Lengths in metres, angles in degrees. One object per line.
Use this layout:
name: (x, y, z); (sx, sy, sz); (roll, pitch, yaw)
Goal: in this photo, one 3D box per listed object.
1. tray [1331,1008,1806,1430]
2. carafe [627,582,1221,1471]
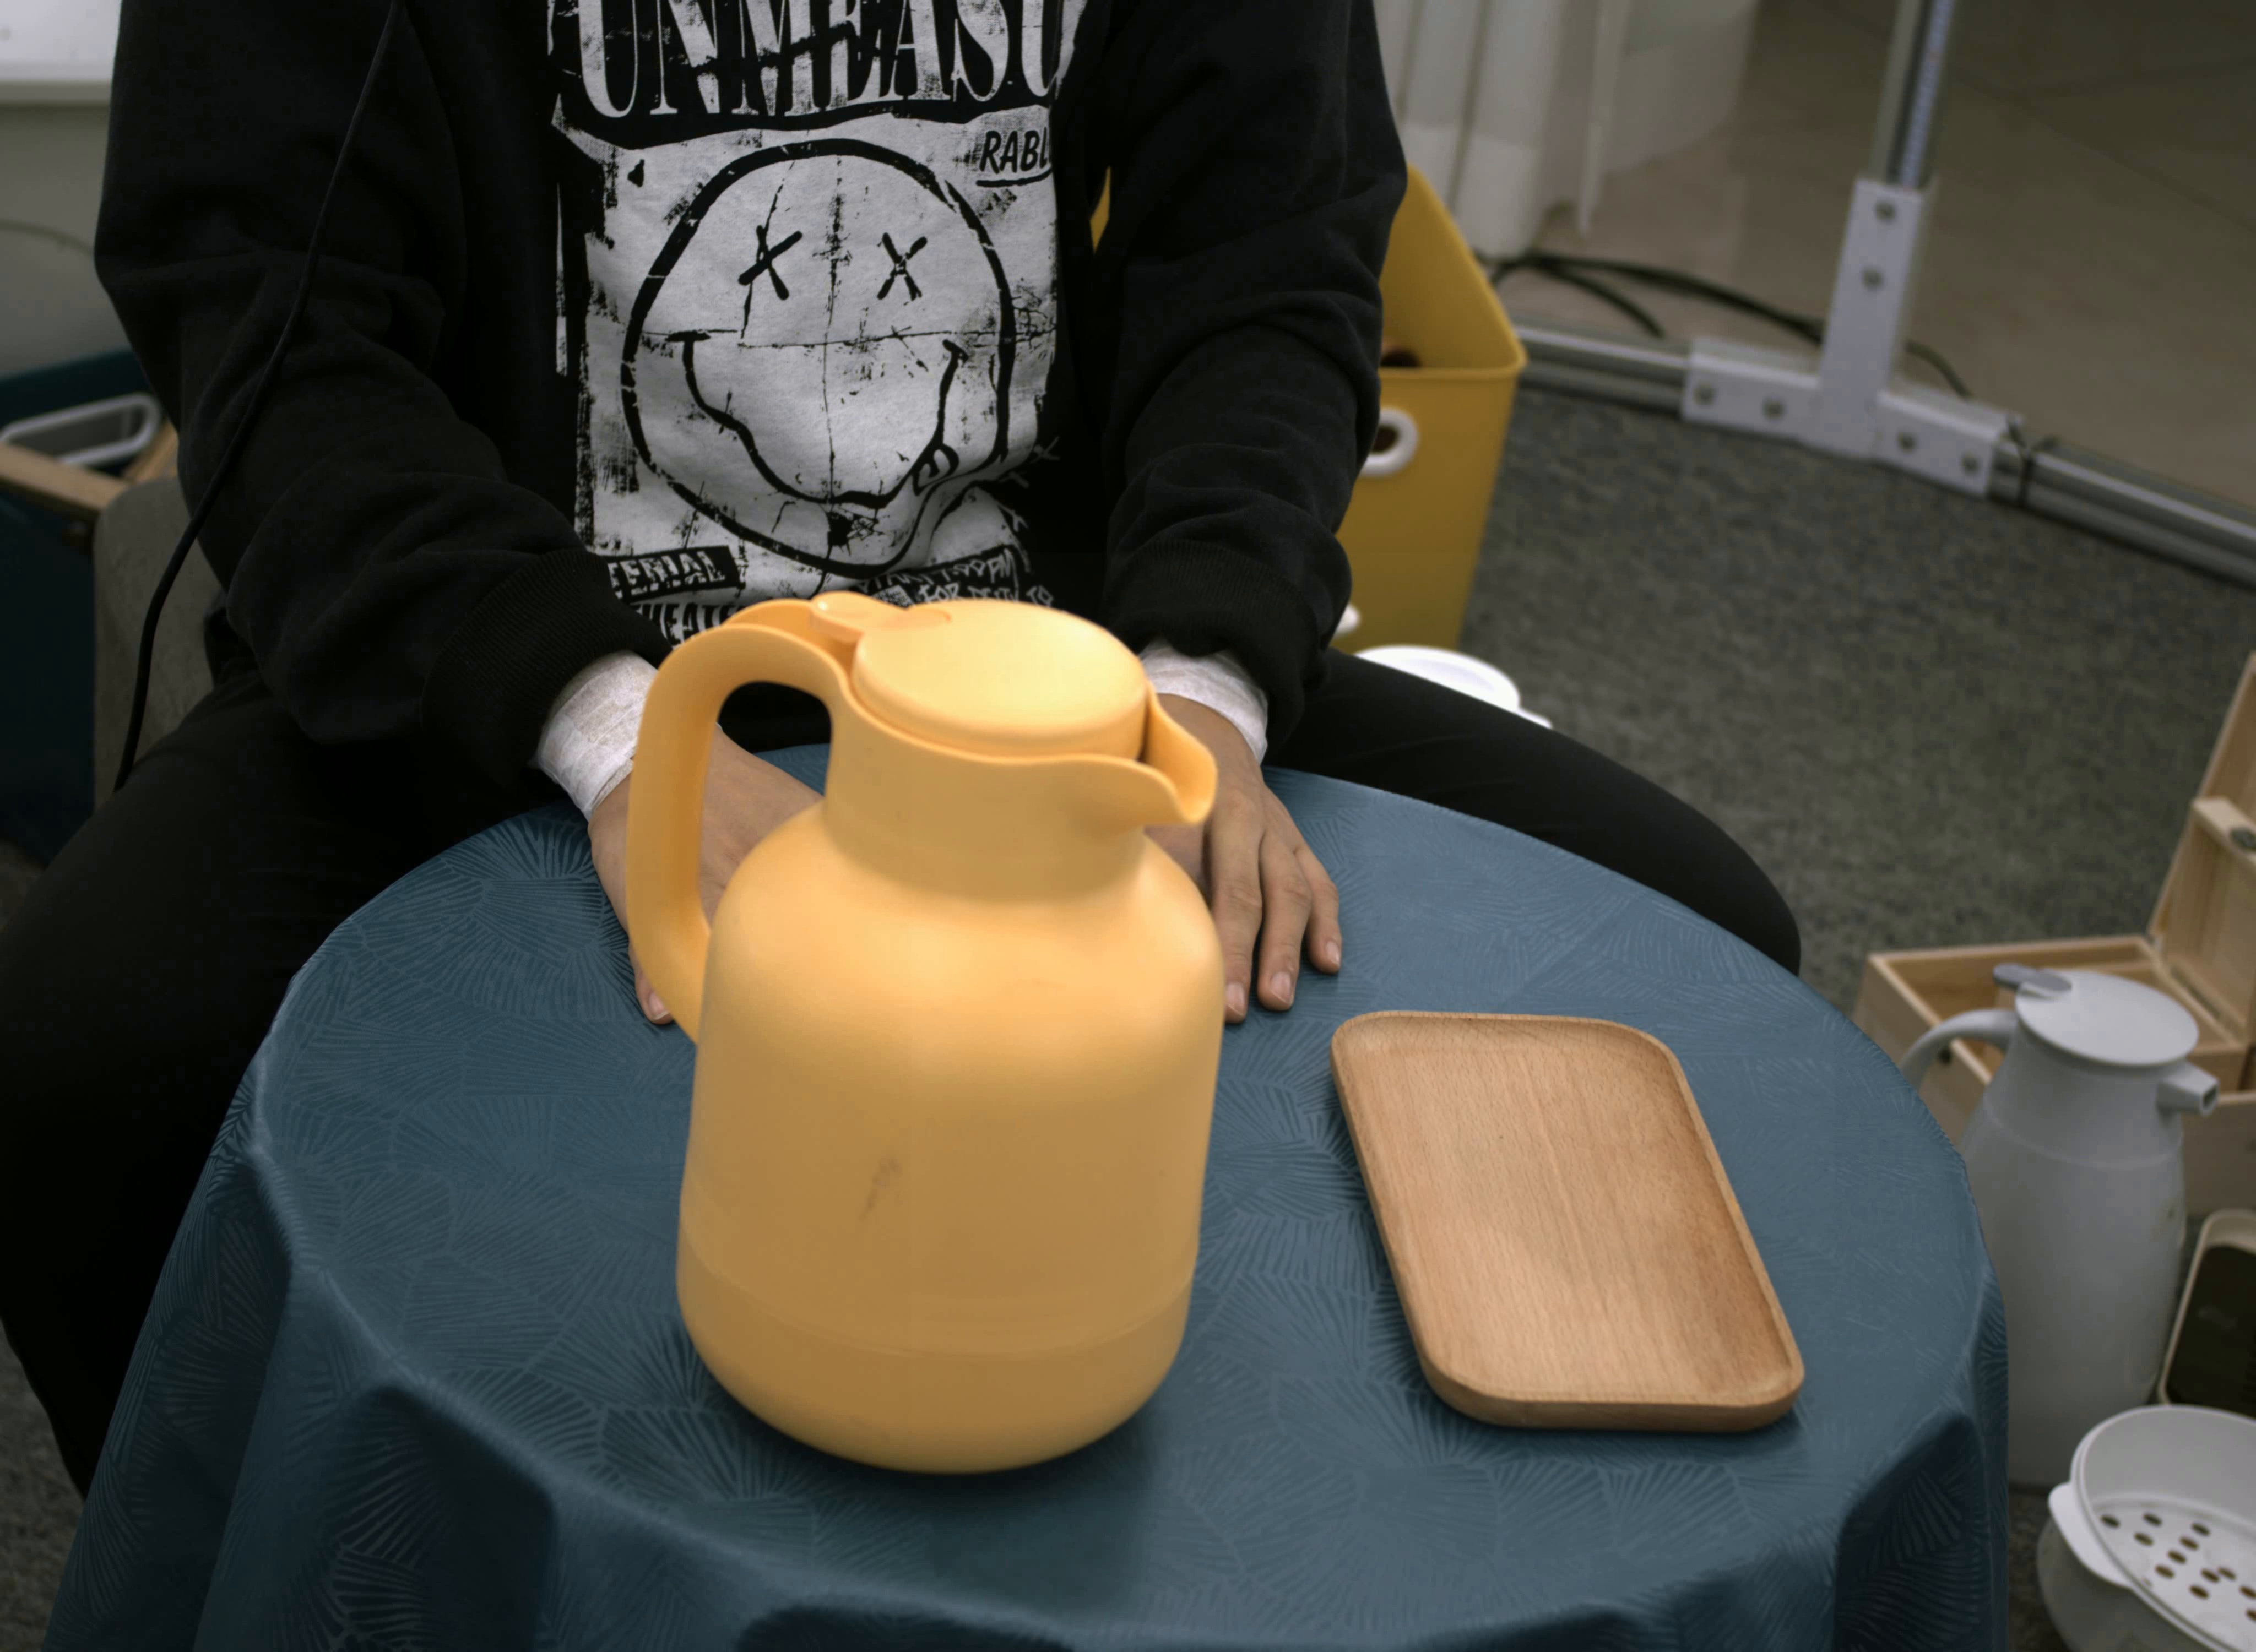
tray: (0.145, 0.131, 1.805); (0.130, 0.023, 0.252); (5, 26, -9)
carafe: (-0.068, 0.051, 1.645); (0.203, 0.260, 0.163); (23, 29, 27)
